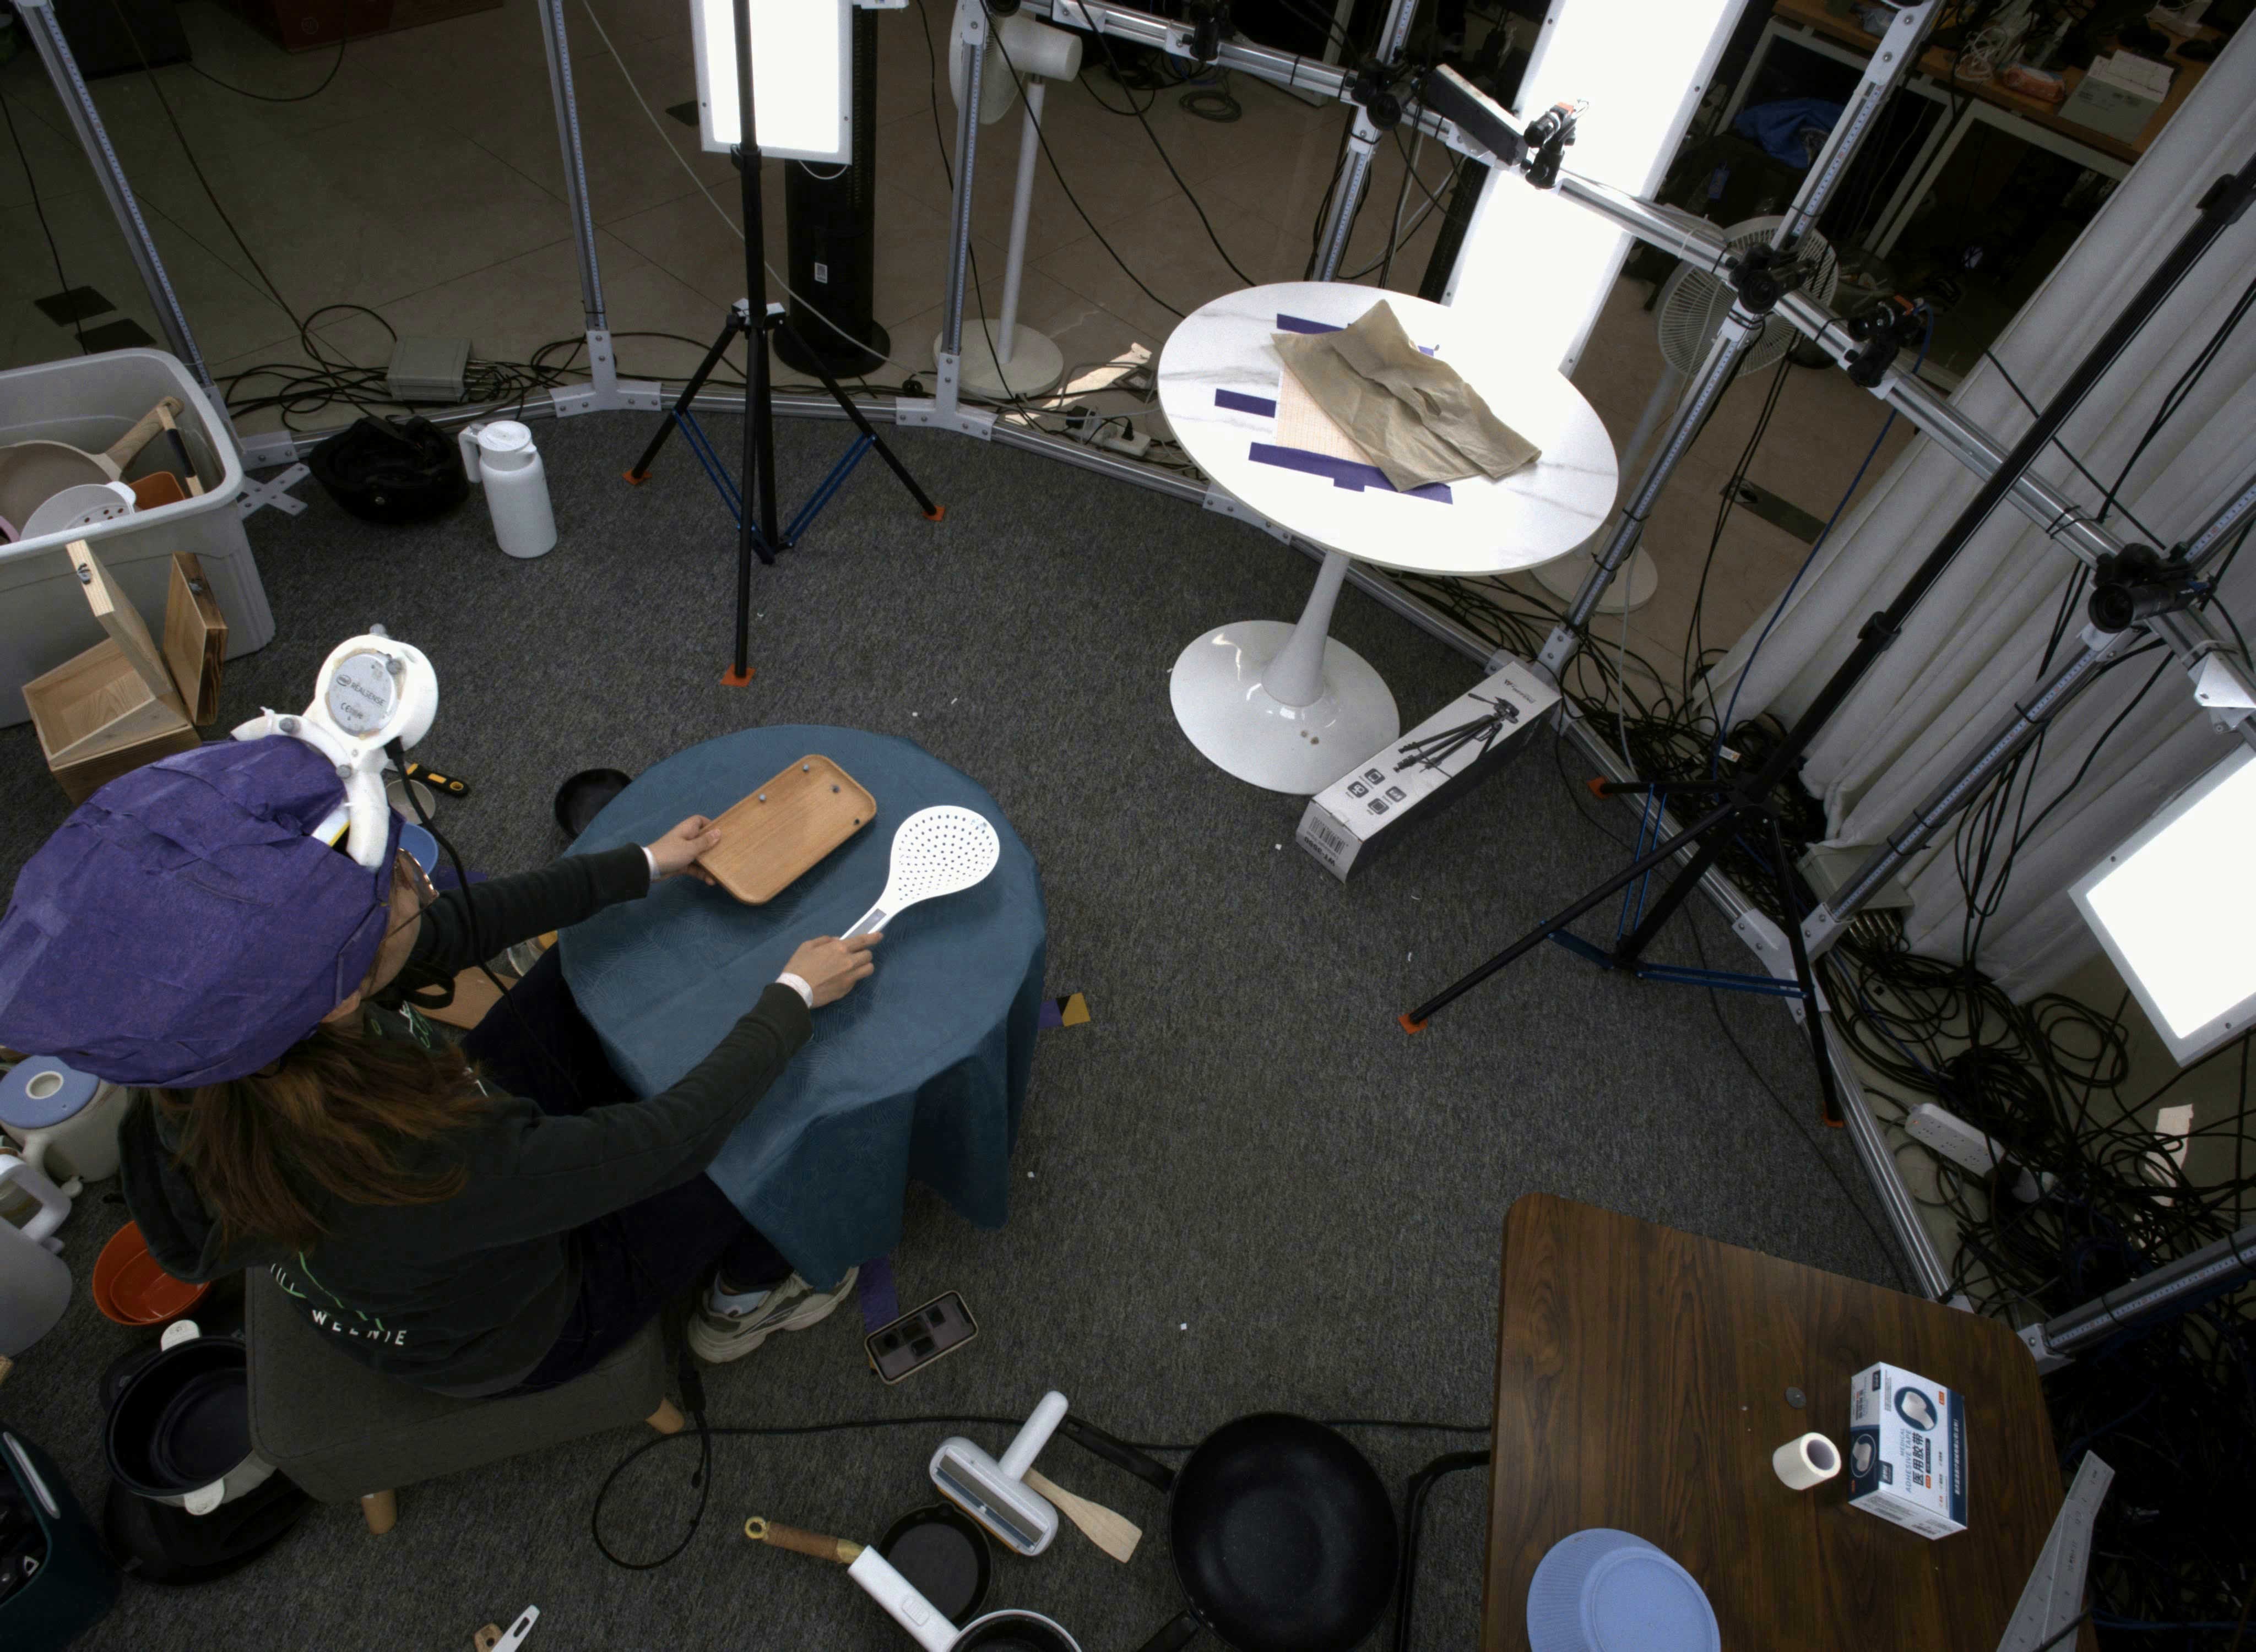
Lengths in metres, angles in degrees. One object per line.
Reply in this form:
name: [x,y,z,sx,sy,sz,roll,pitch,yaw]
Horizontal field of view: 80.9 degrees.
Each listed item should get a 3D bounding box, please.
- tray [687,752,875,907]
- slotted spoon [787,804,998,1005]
tray: [-0.444,0.001,1.672,0.129,0.023,0.250,40,48,5]
slotted spoon: [-0.297,0.096,1.631,0.133,0.047,0.349,32,51,16]
